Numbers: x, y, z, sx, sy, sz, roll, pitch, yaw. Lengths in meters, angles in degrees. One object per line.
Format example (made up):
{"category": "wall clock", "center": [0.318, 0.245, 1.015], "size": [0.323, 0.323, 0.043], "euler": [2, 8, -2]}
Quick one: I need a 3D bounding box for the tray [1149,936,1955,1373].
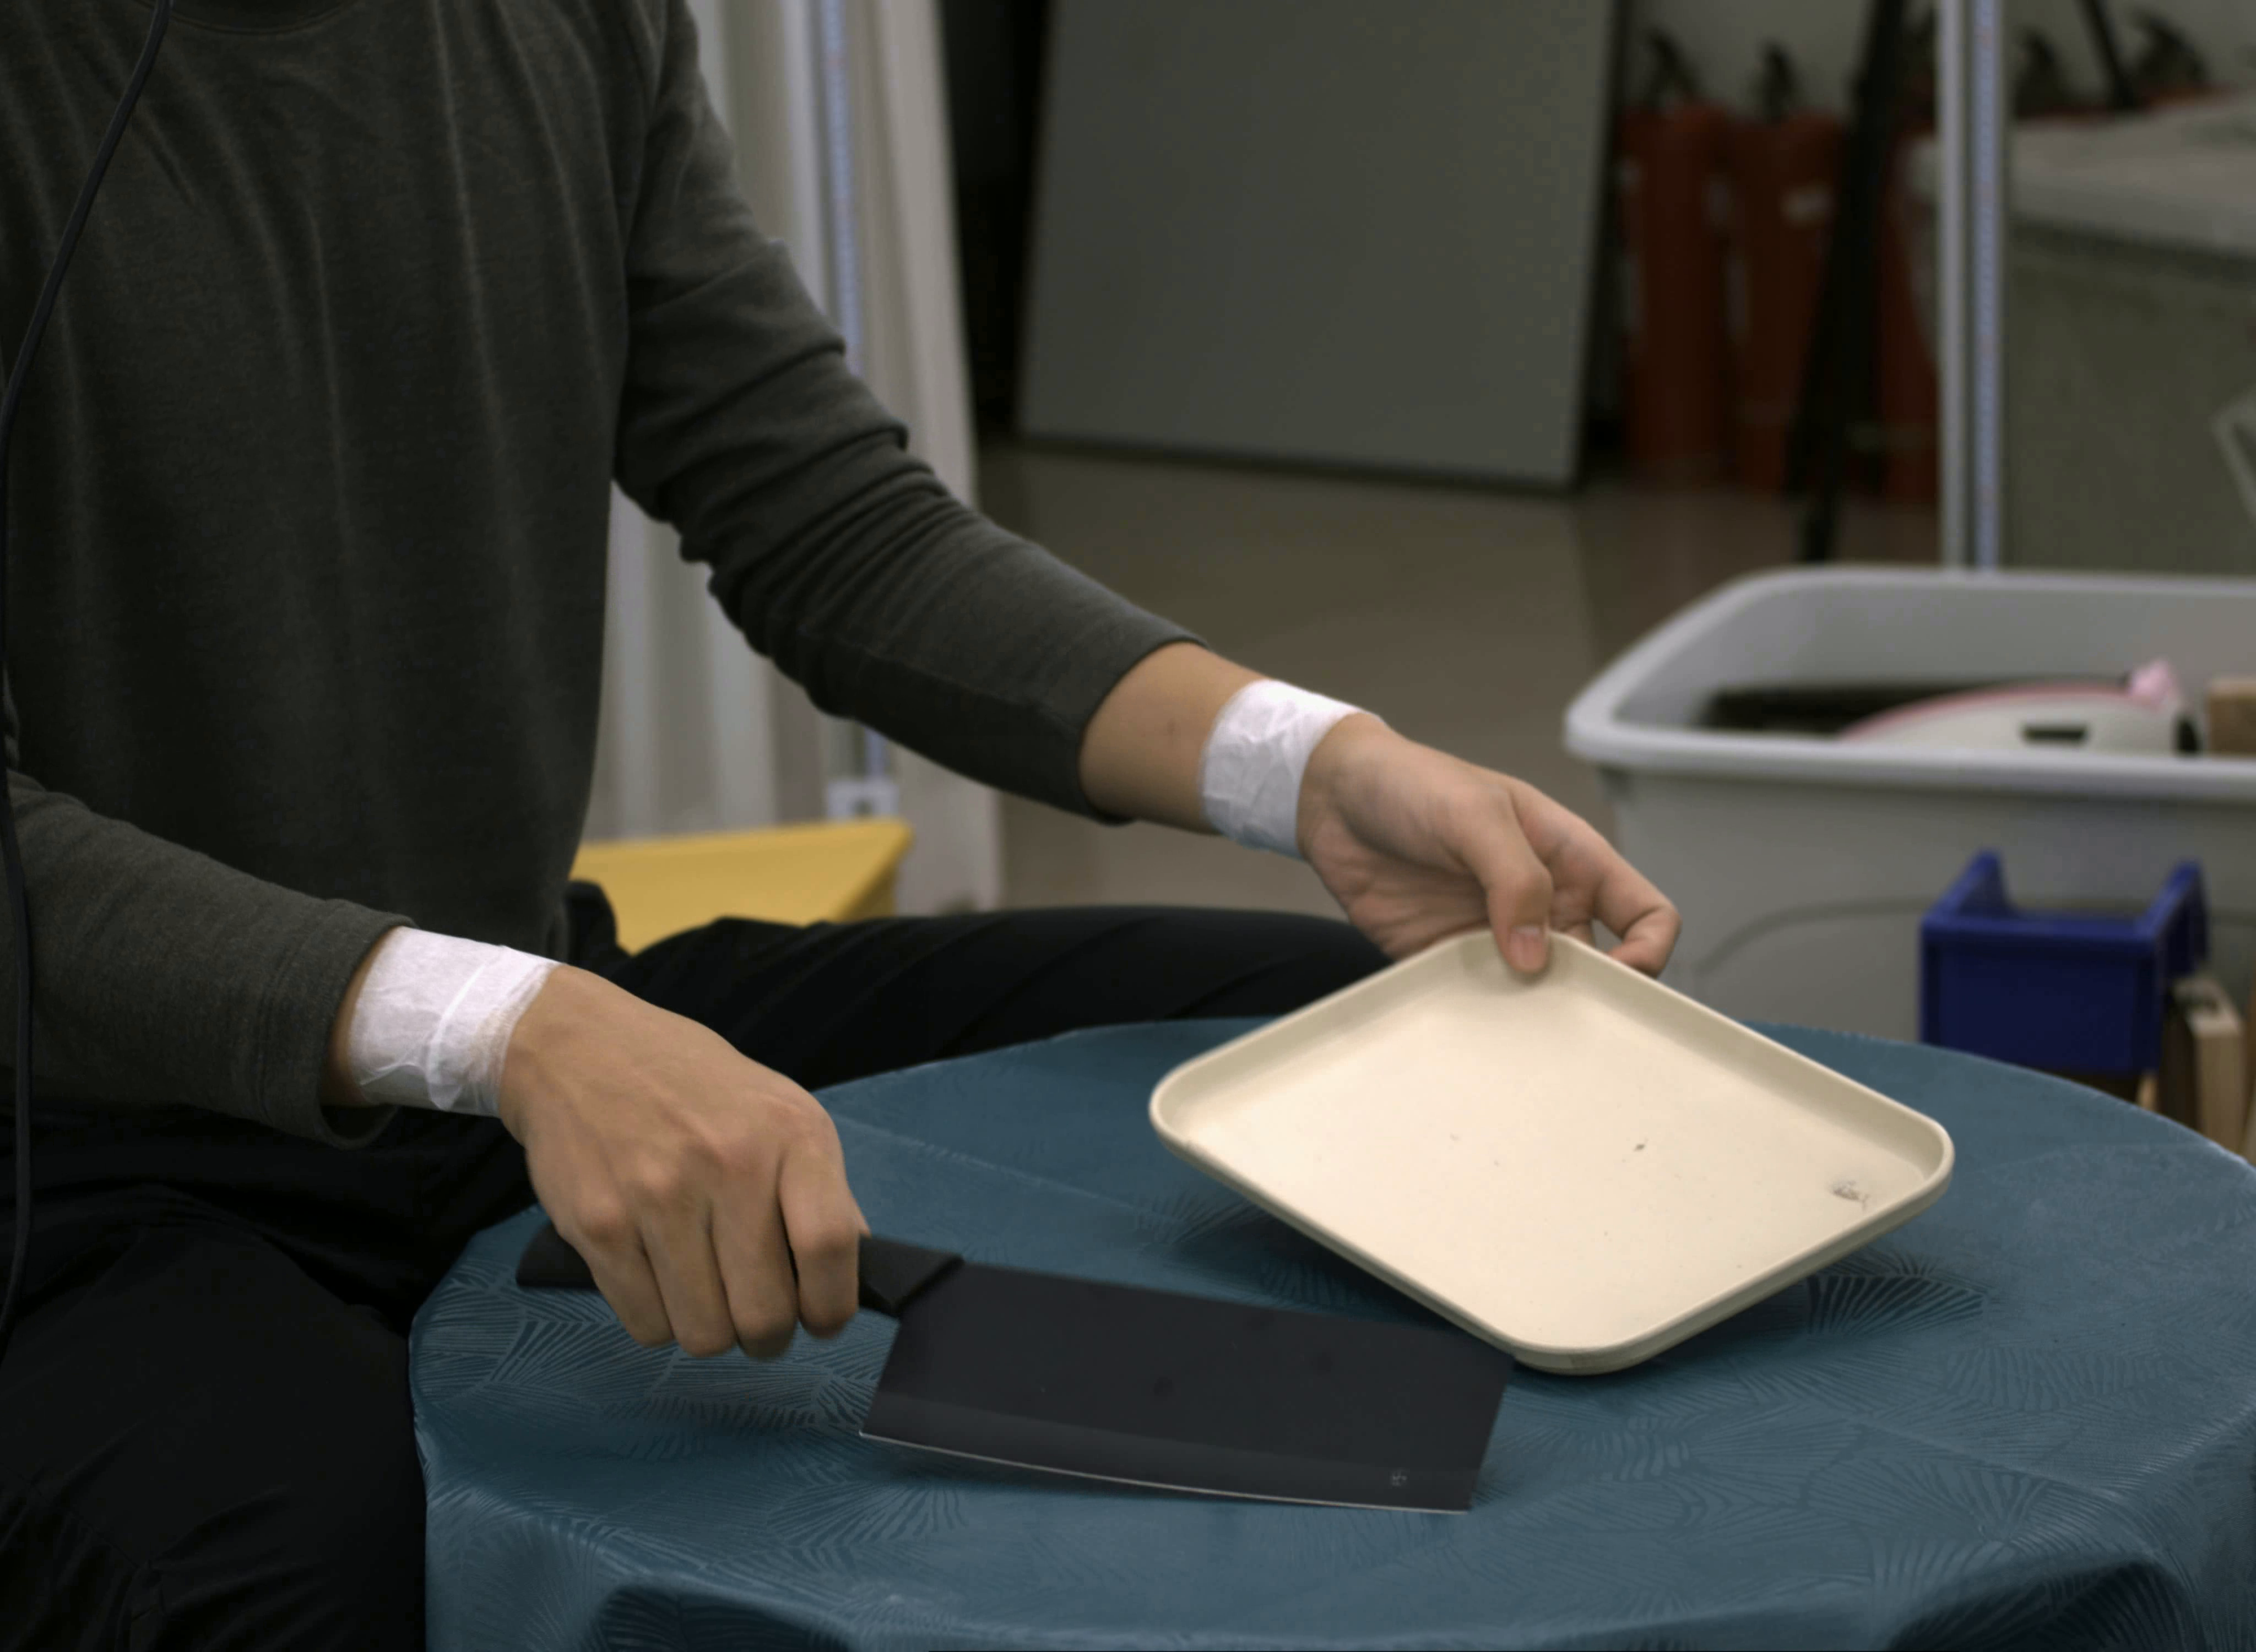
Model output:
{"category": "tray", "center": [0.130, 0.101, 1.682], "size": [0.168, 0.017, 0.242], "euler": [-24, 28, -26]}

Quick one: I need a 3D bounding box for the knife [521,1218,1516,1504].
{"category": "knife", "center": [-0.036, 0.151, 1.542], "size": [0.302, 0.021, 0.081], "euler": [9, 48, 23]}
